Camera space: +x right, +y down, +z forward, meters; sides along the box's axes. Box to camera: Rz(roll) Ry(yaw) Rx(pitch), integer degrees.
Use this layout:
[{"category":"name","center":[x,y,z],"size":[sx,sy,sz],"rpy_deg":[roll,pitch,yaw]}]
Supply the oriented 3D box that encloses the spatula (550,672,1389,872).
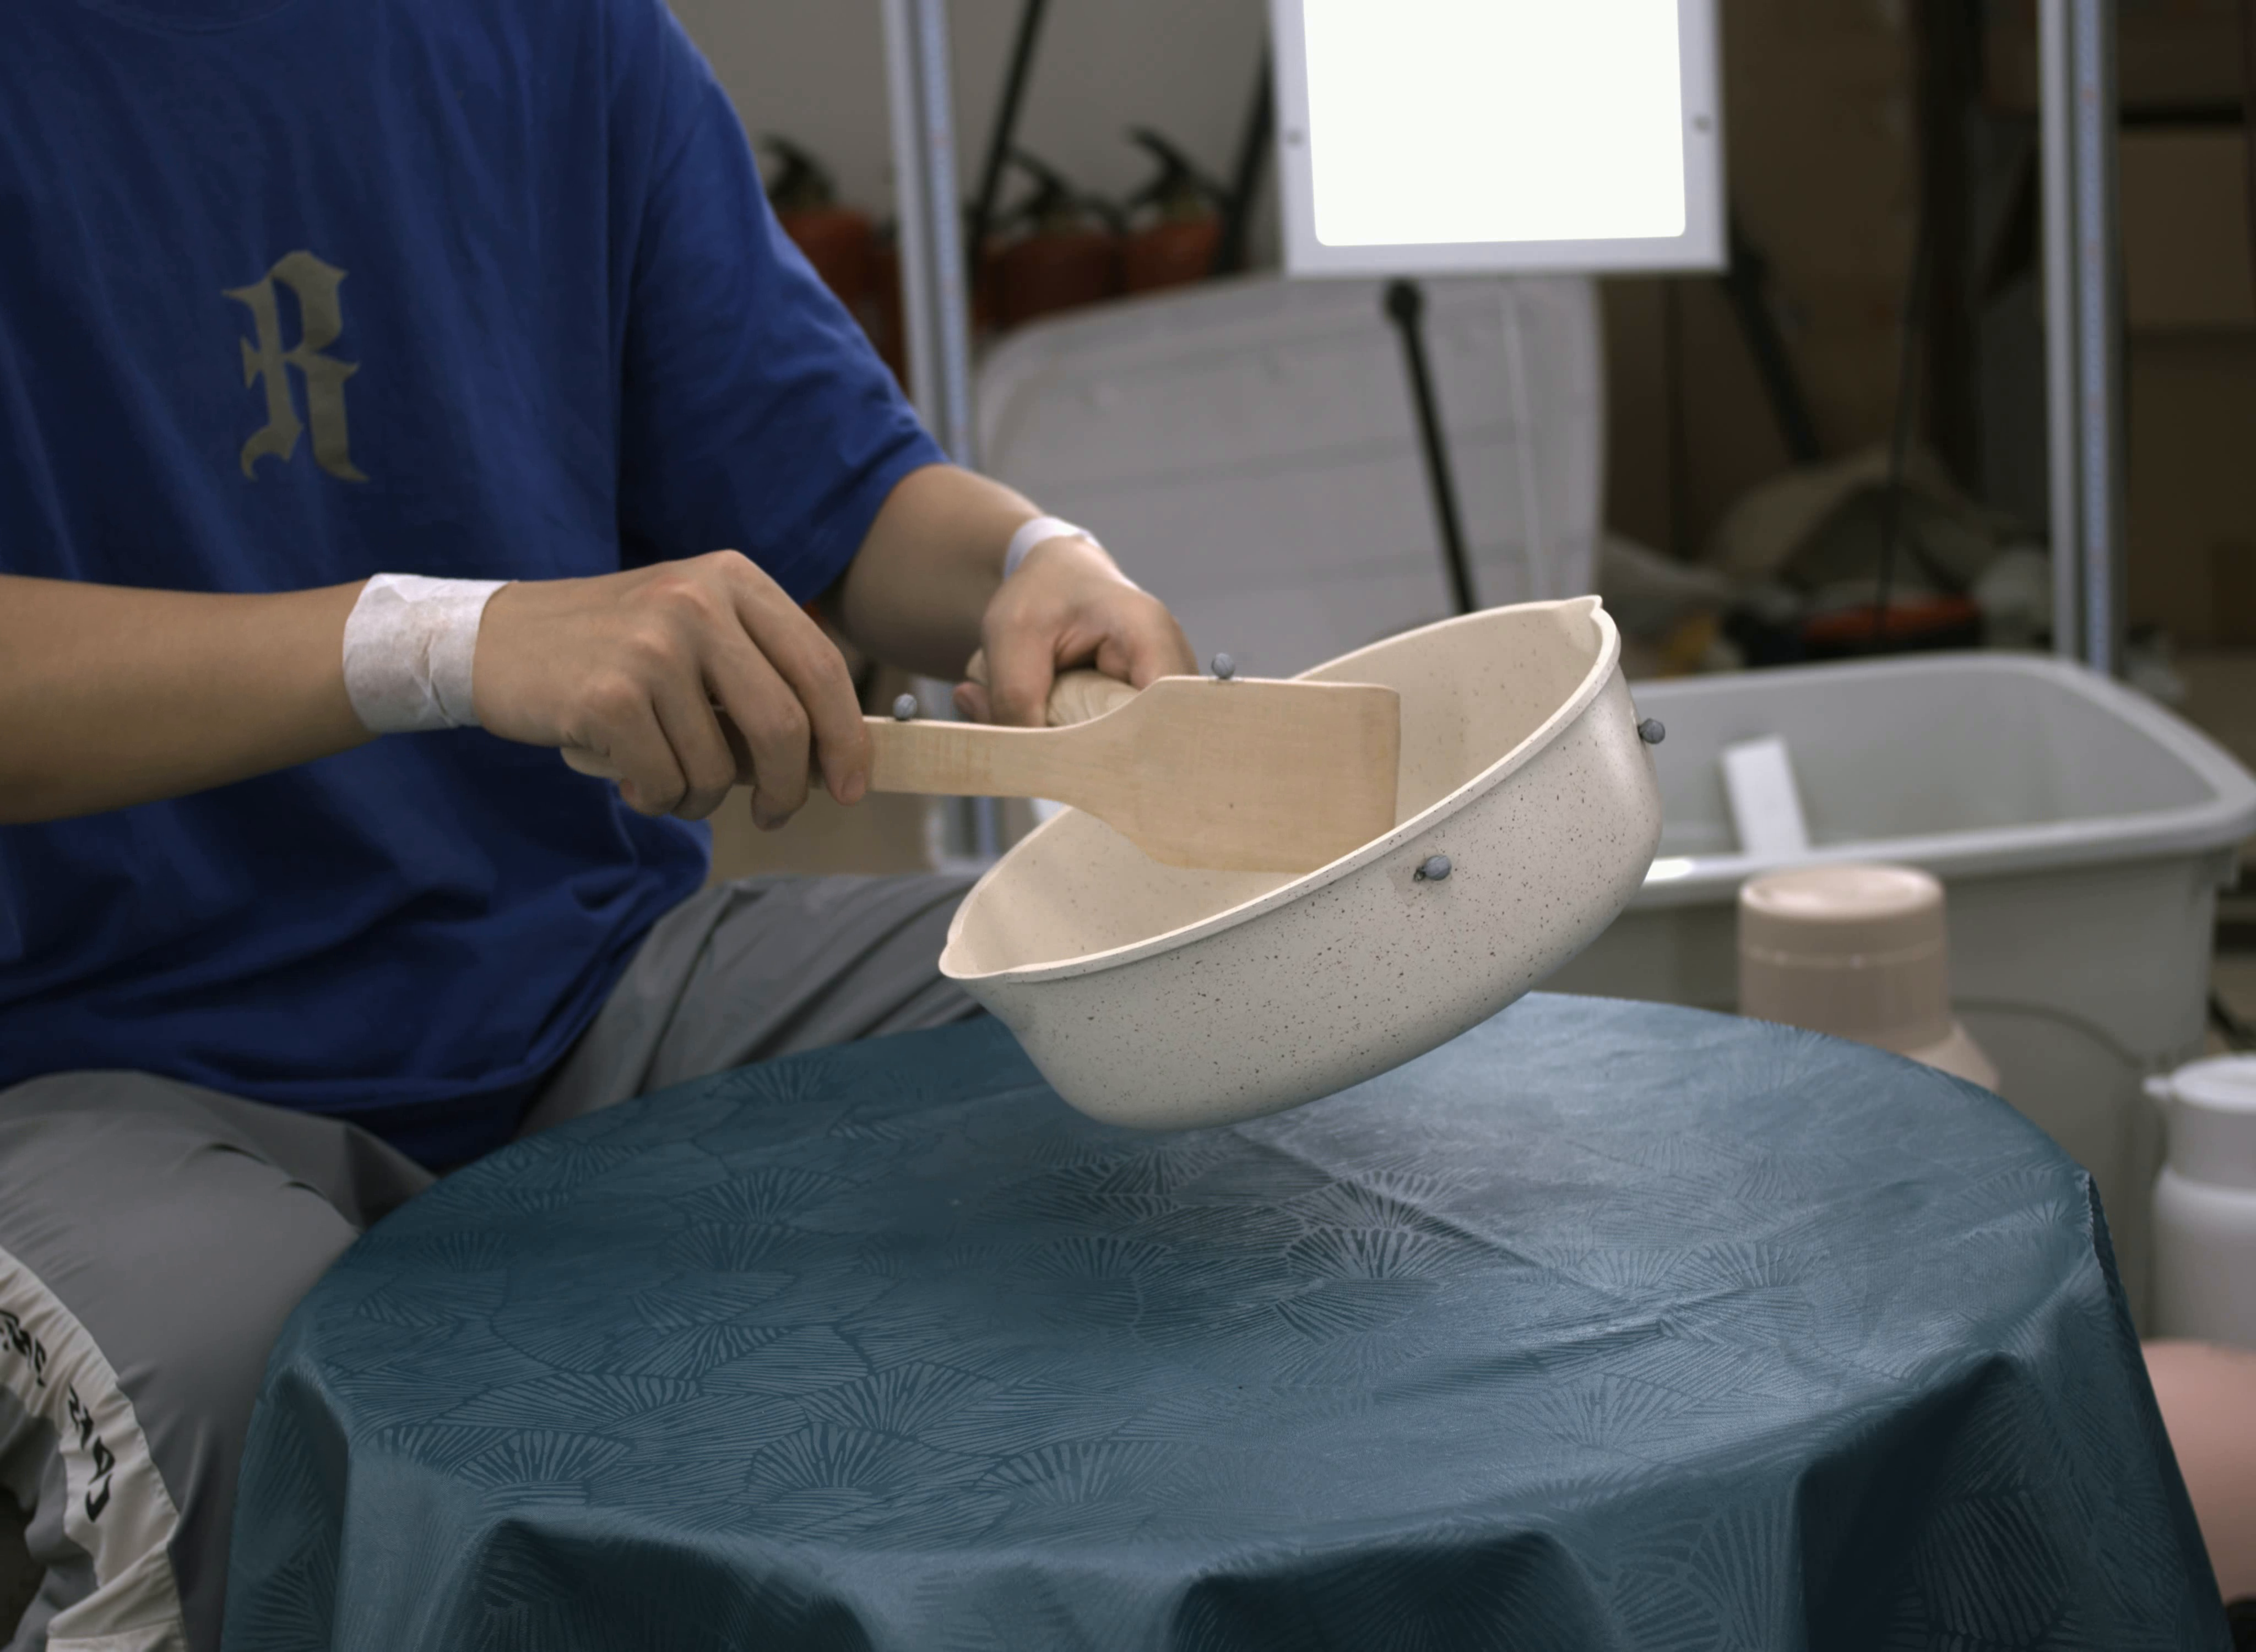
[{"category":"spatula","center":[-0.056,-0.025,1.904],"size":[0.293,0.072,0.010],"rpy_deg":[4,20,7]}]

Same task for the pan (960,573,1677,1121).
[{"category":"pan","center":[0.040,-0.001,1.951],"size":[0.260,0.102,0.440],"rpy_deg":[-32,15,-13]}]
